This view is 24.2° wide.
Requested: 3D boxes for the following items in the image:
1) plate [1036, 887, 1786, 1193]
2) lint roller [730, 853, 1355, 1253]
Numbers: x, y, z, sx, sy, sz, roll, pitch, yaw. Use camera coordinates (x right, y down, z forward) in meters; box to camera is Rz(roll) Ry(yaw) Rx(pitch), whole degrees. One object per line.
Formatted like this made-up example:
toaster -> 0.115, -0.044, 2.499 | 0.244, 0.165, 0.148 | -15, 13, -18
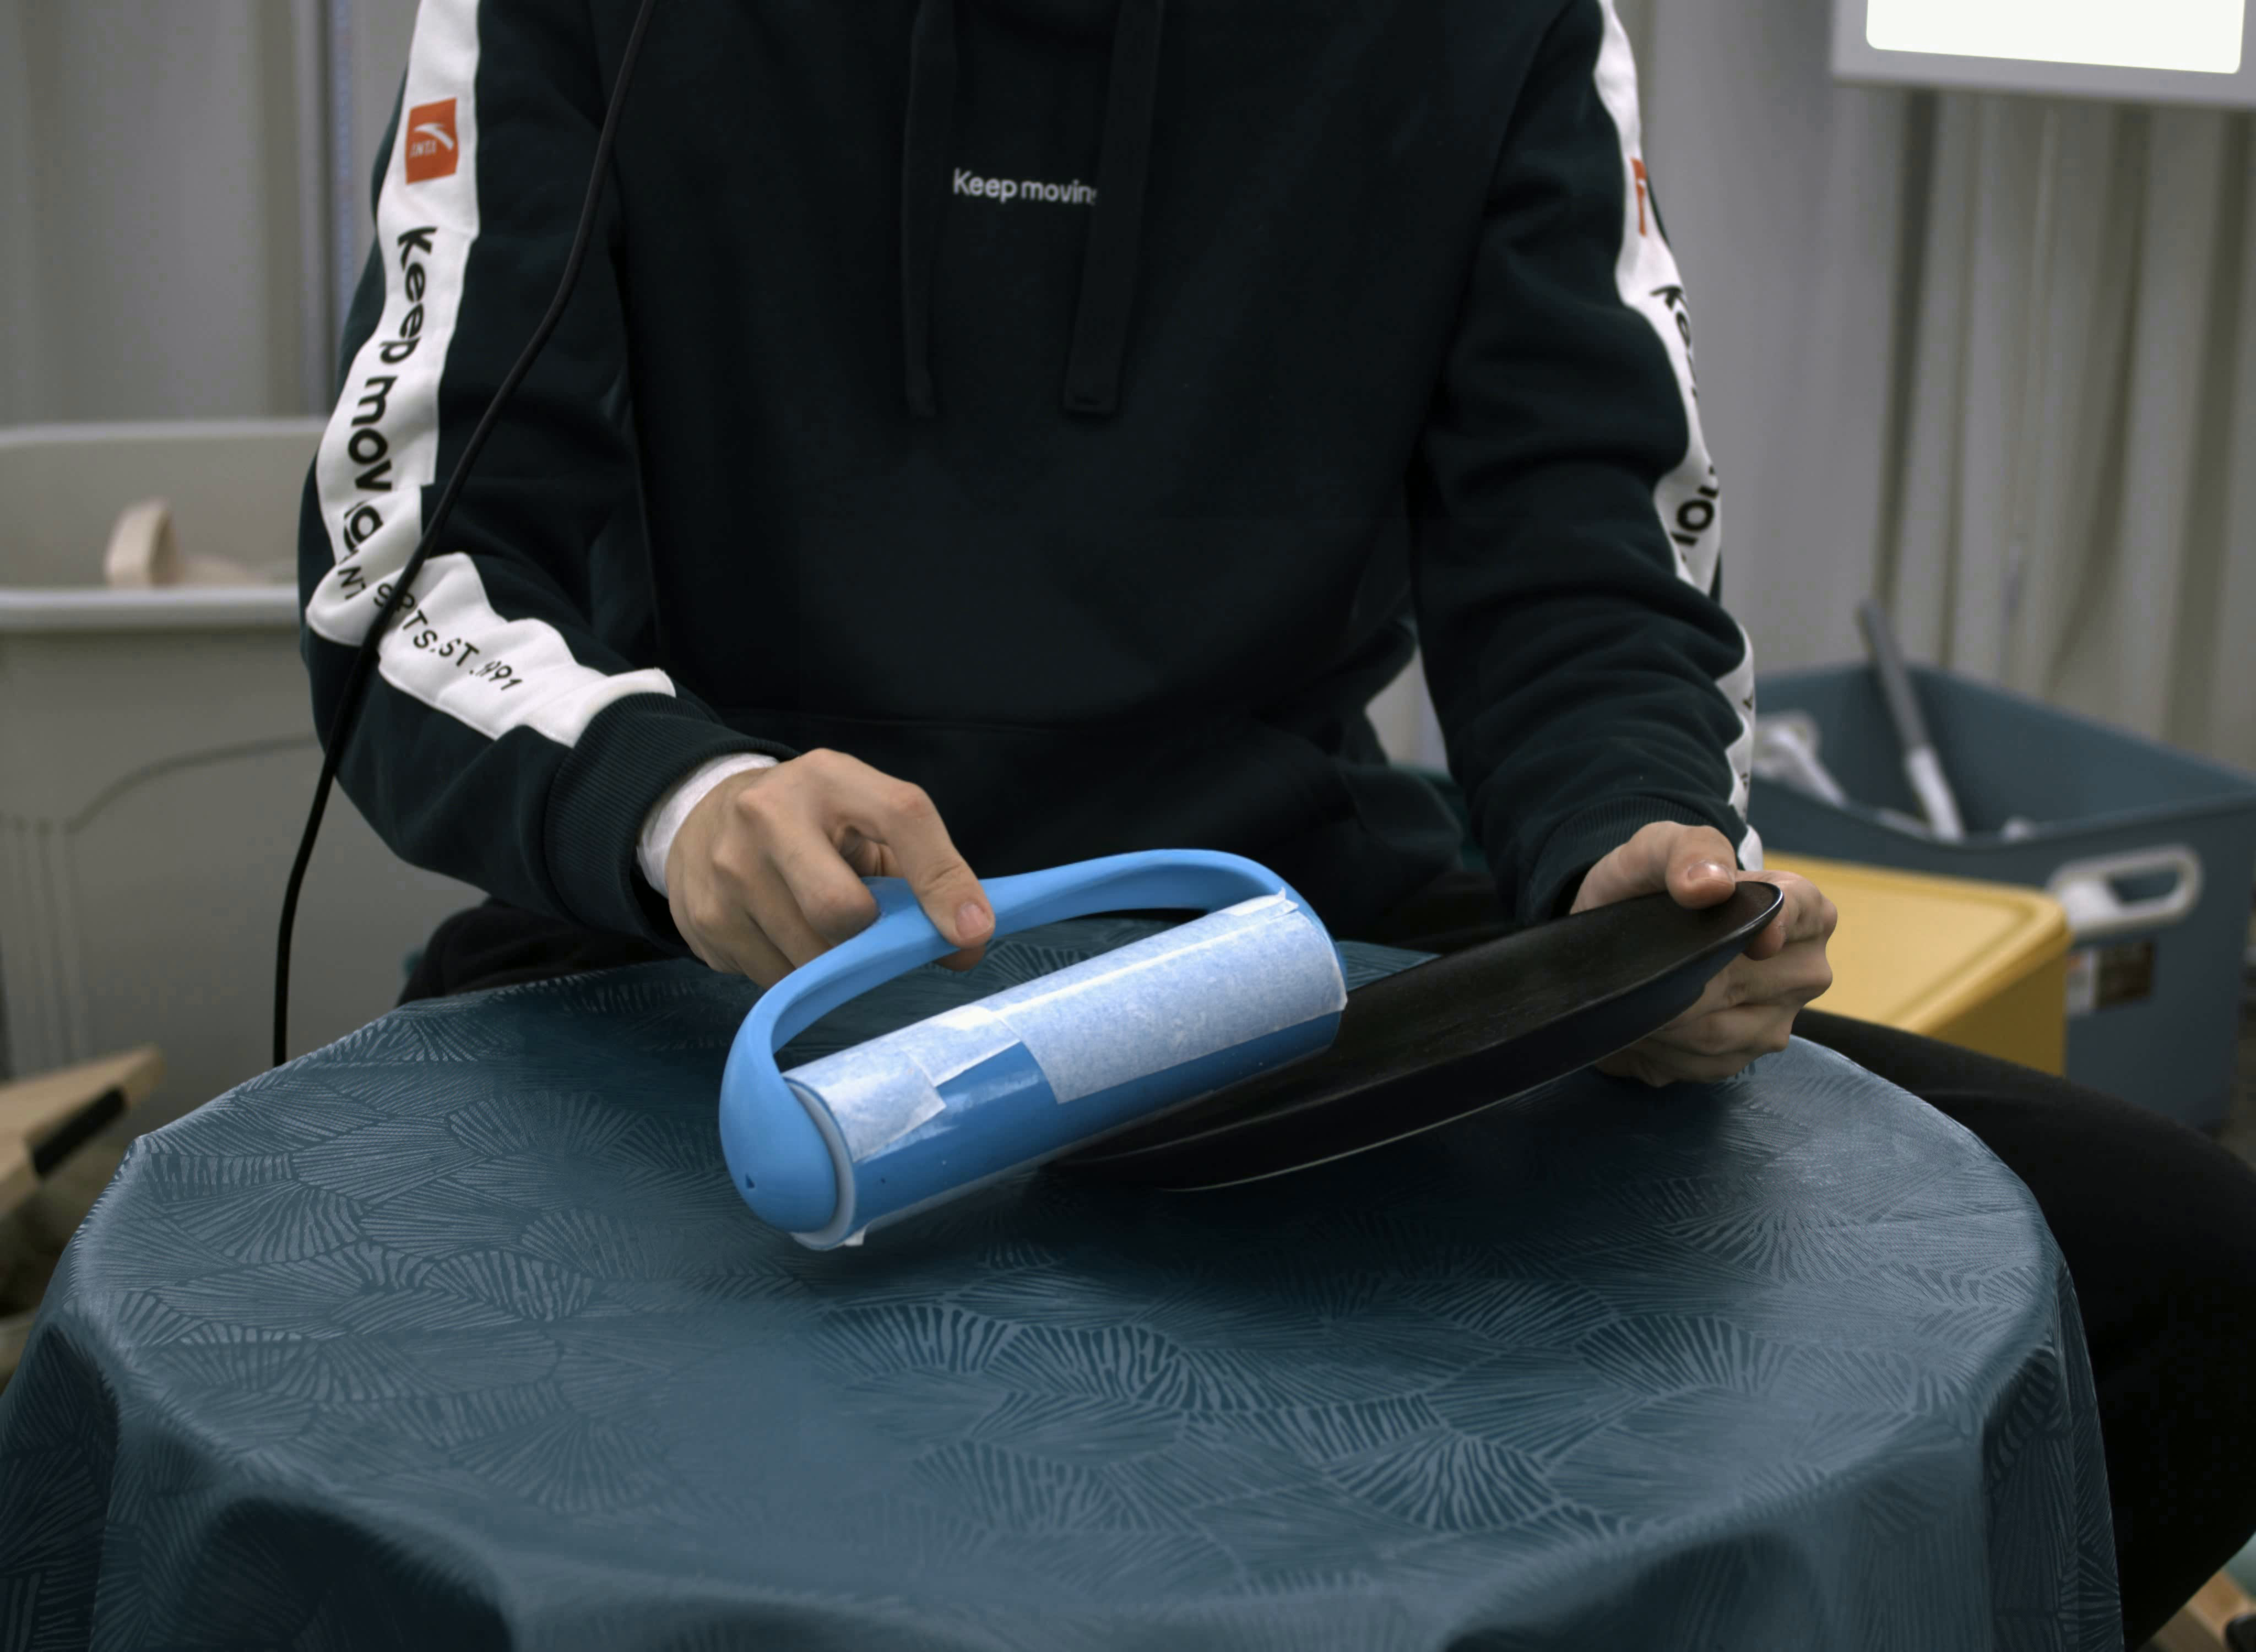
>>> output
plate -> 0.088, 0.069, 1.609 | 0.243, 0.023, 0.244 | -19, 4, 2
lint roller -> -0.061, 0.052, 1.621 | 0.229, 0.068, 0.178 | -23, 35, -39
